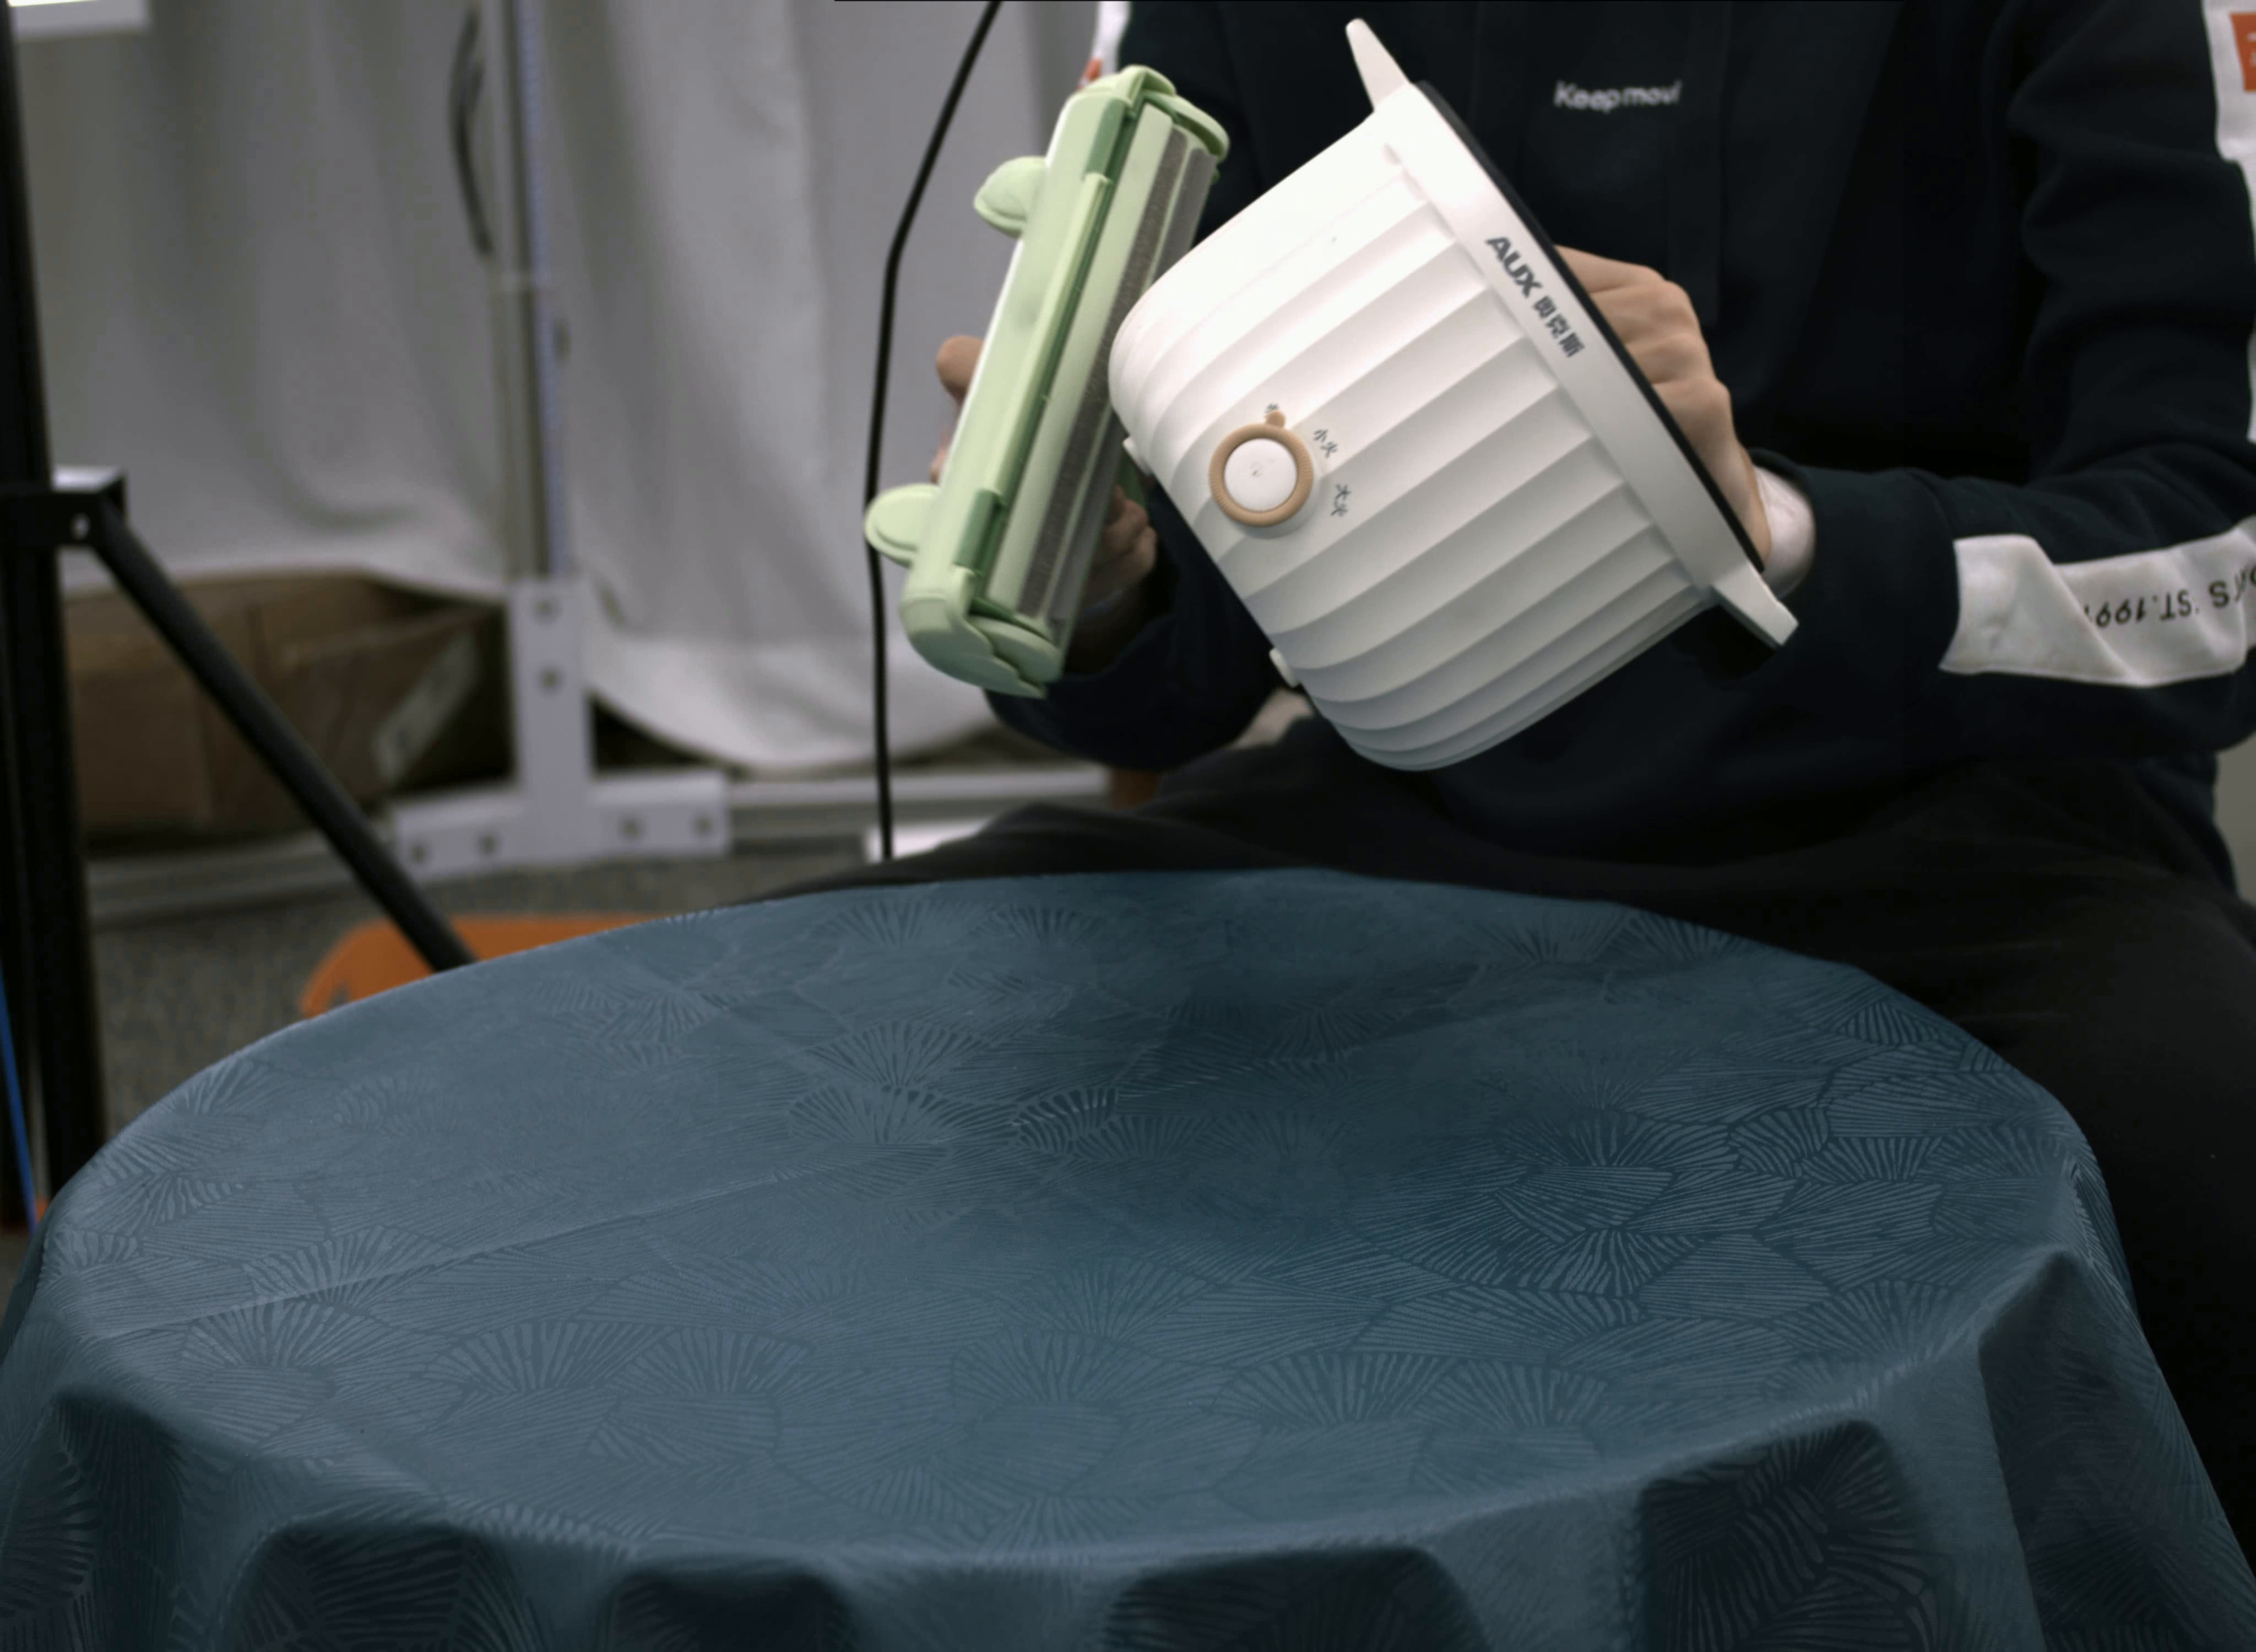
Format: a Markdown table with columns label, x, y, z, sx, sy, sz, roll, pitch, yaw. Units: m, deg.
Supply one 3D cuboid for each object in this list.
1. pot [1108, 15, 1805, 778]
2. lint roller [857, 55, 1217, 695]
| label | x | y | z | sx | sy | sz | roll | pitch | yaw |
| --- | --- | --- | --- | --- | --- | --- | --- | --- | --- |
| pot | 0.085 | -0.110 | 1.601 | 0.142 | 0.243 | 0.189 | -35 | -11 | 2 |
| lint roller | -0.033 | -0.127 | 1.712 | 0.082 | 0.199 | 0.183 | 18 | -17 | 0 |
